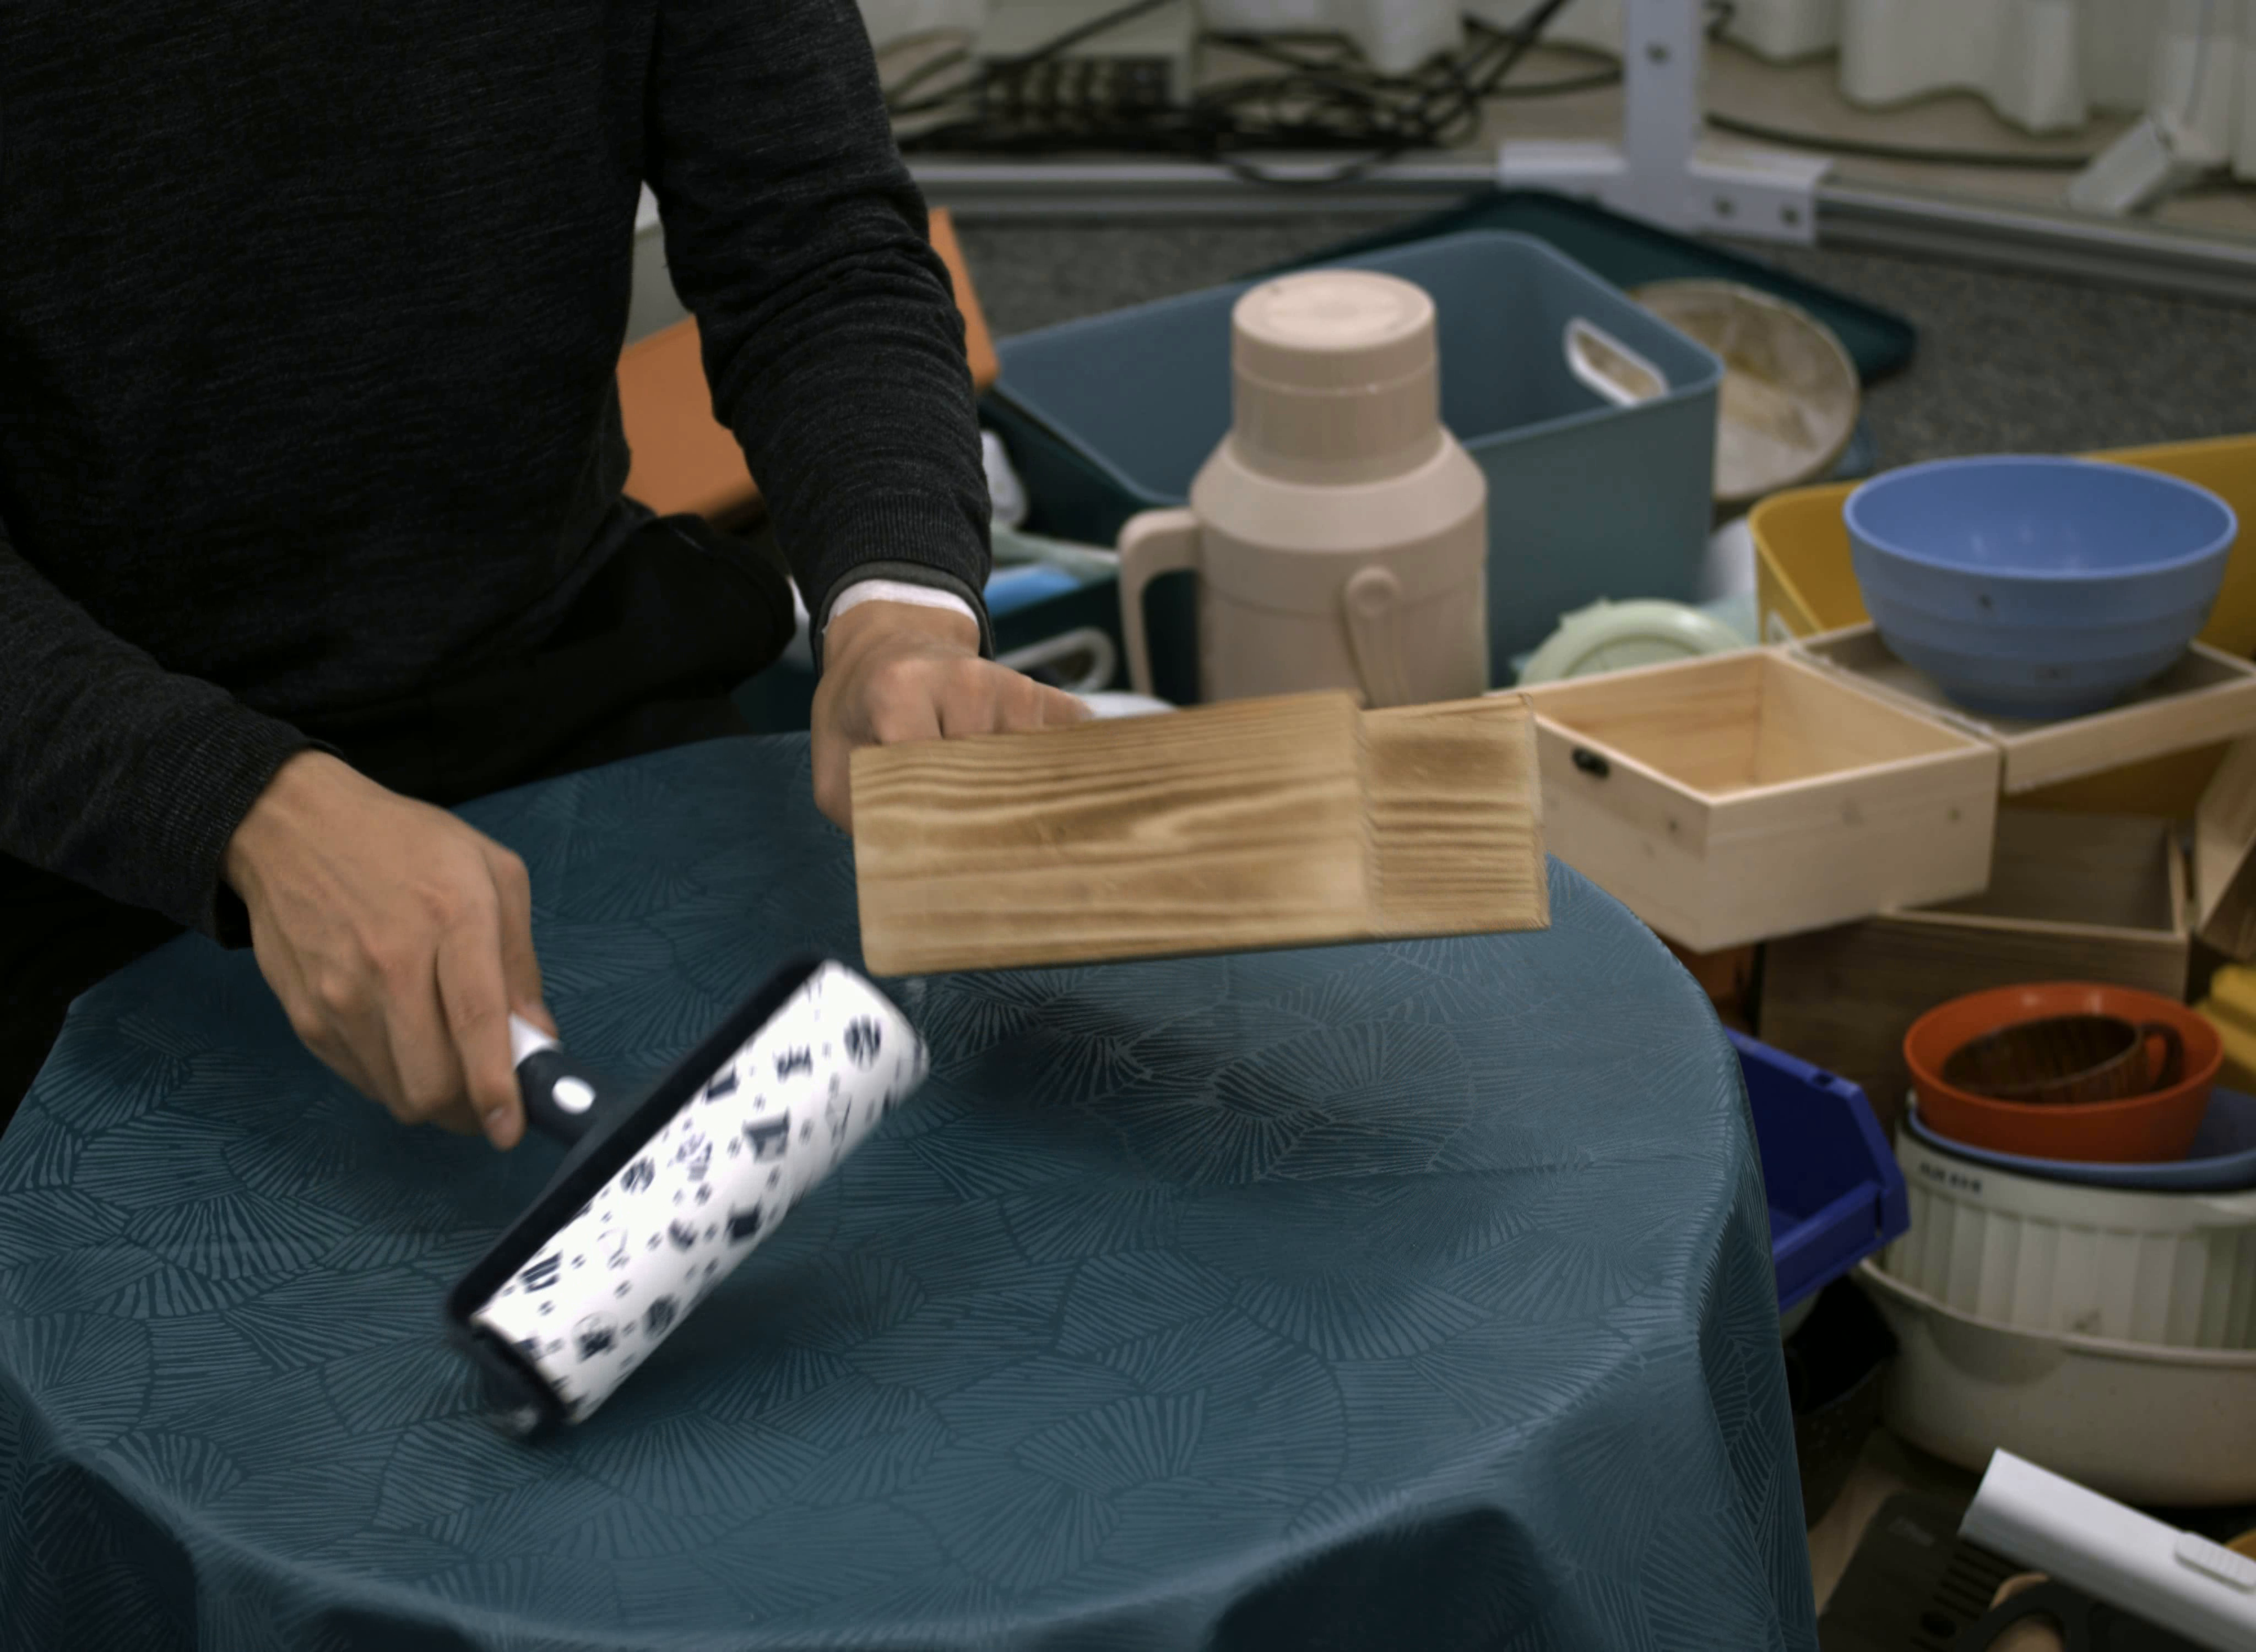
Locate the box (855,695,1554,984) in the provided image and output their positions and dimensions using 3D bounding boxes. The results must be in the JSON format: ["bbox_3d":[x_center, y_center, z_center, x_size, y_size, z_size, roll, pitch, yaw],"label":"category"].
[{"bbox_3d":[0.024,0.006,1.888,0.209,0.081,0.108,-6,-3,35],"label":"box"}]

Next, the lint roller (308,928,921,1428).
[{"bbox_3d":[-0.201,0.084,1.834,0.178,0.050,0.247,-43,45,-20],"label":"lint roller"}]
